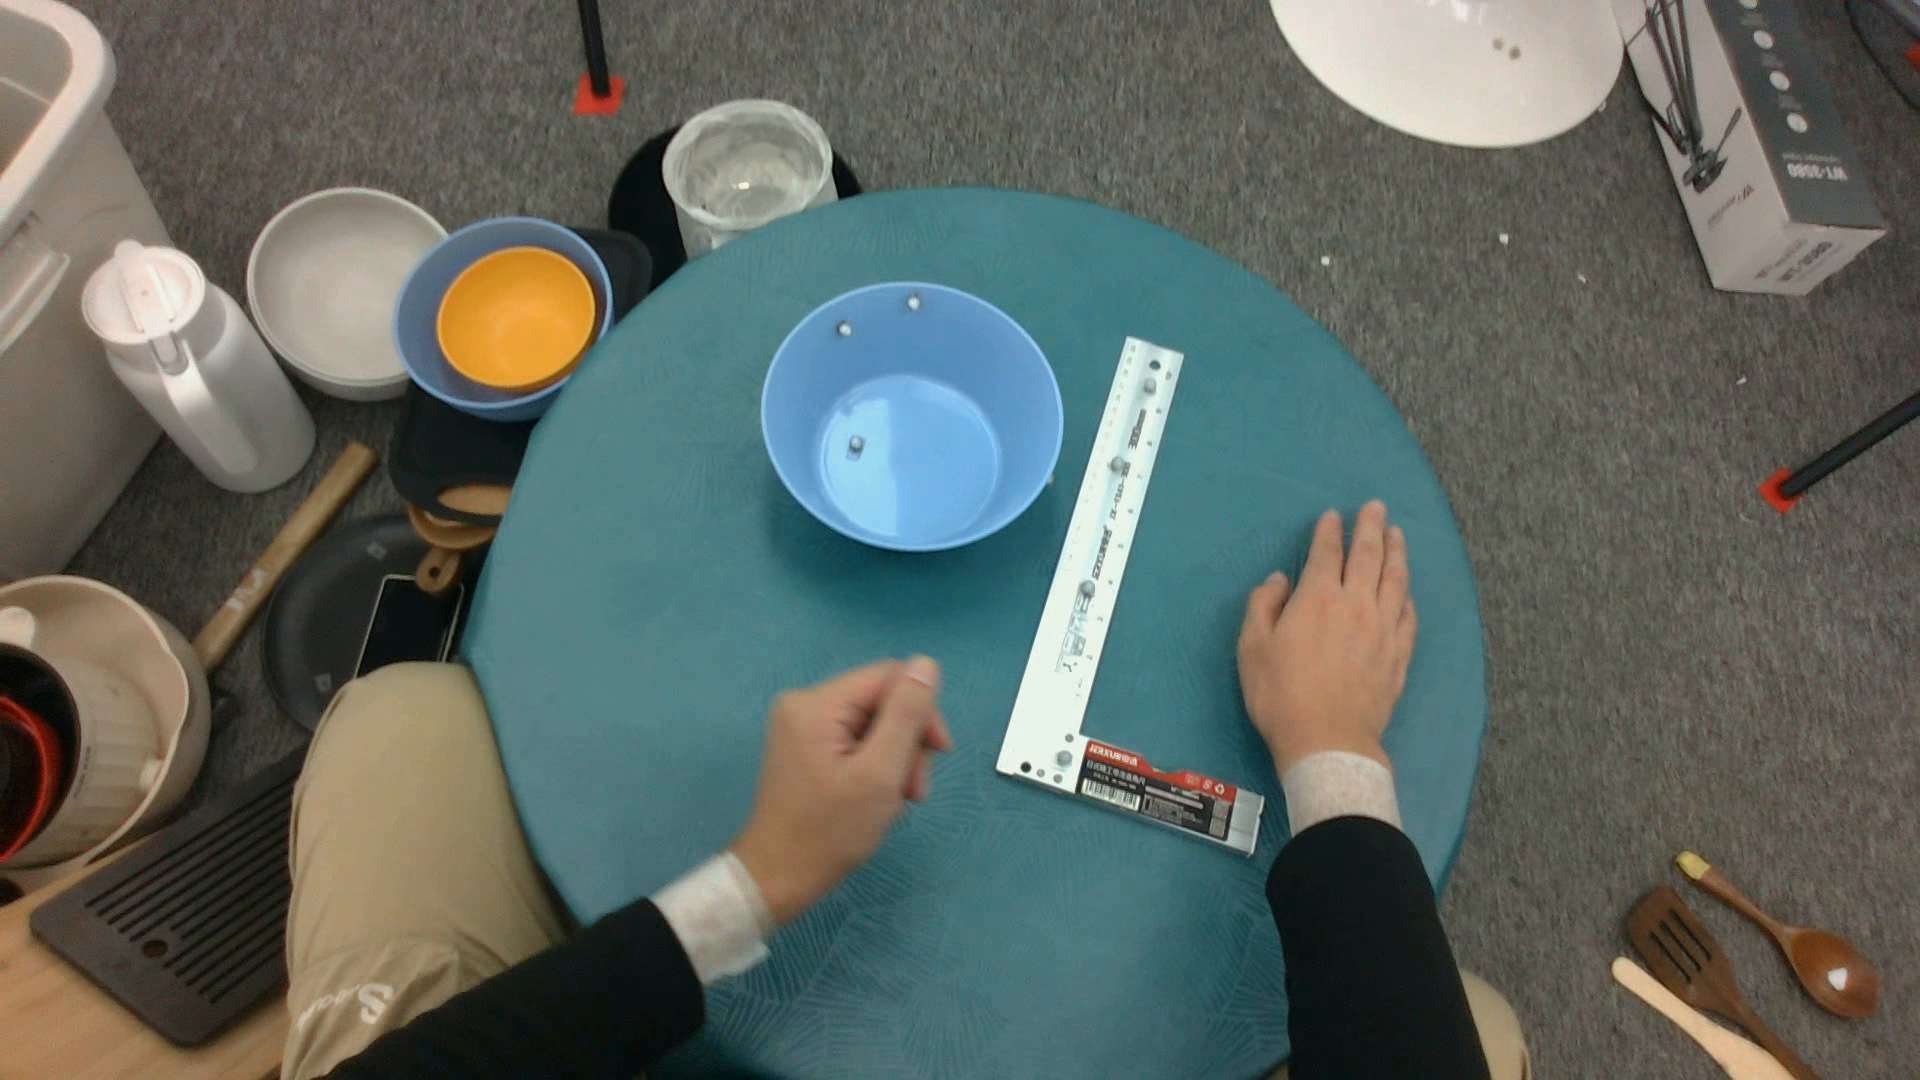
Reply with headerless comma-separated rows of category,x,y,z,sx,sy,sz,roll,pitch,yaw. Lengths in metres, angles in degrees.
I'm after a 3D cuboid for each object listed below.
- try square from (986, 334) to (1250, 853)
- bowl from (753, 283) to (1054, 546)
try square,0.129,0.021,0.845,0.152,0.016,0.314,20,63,-1
bowl,-0.035,-0.064,0.827,0.176,0.070,0.176,3,65,-6
